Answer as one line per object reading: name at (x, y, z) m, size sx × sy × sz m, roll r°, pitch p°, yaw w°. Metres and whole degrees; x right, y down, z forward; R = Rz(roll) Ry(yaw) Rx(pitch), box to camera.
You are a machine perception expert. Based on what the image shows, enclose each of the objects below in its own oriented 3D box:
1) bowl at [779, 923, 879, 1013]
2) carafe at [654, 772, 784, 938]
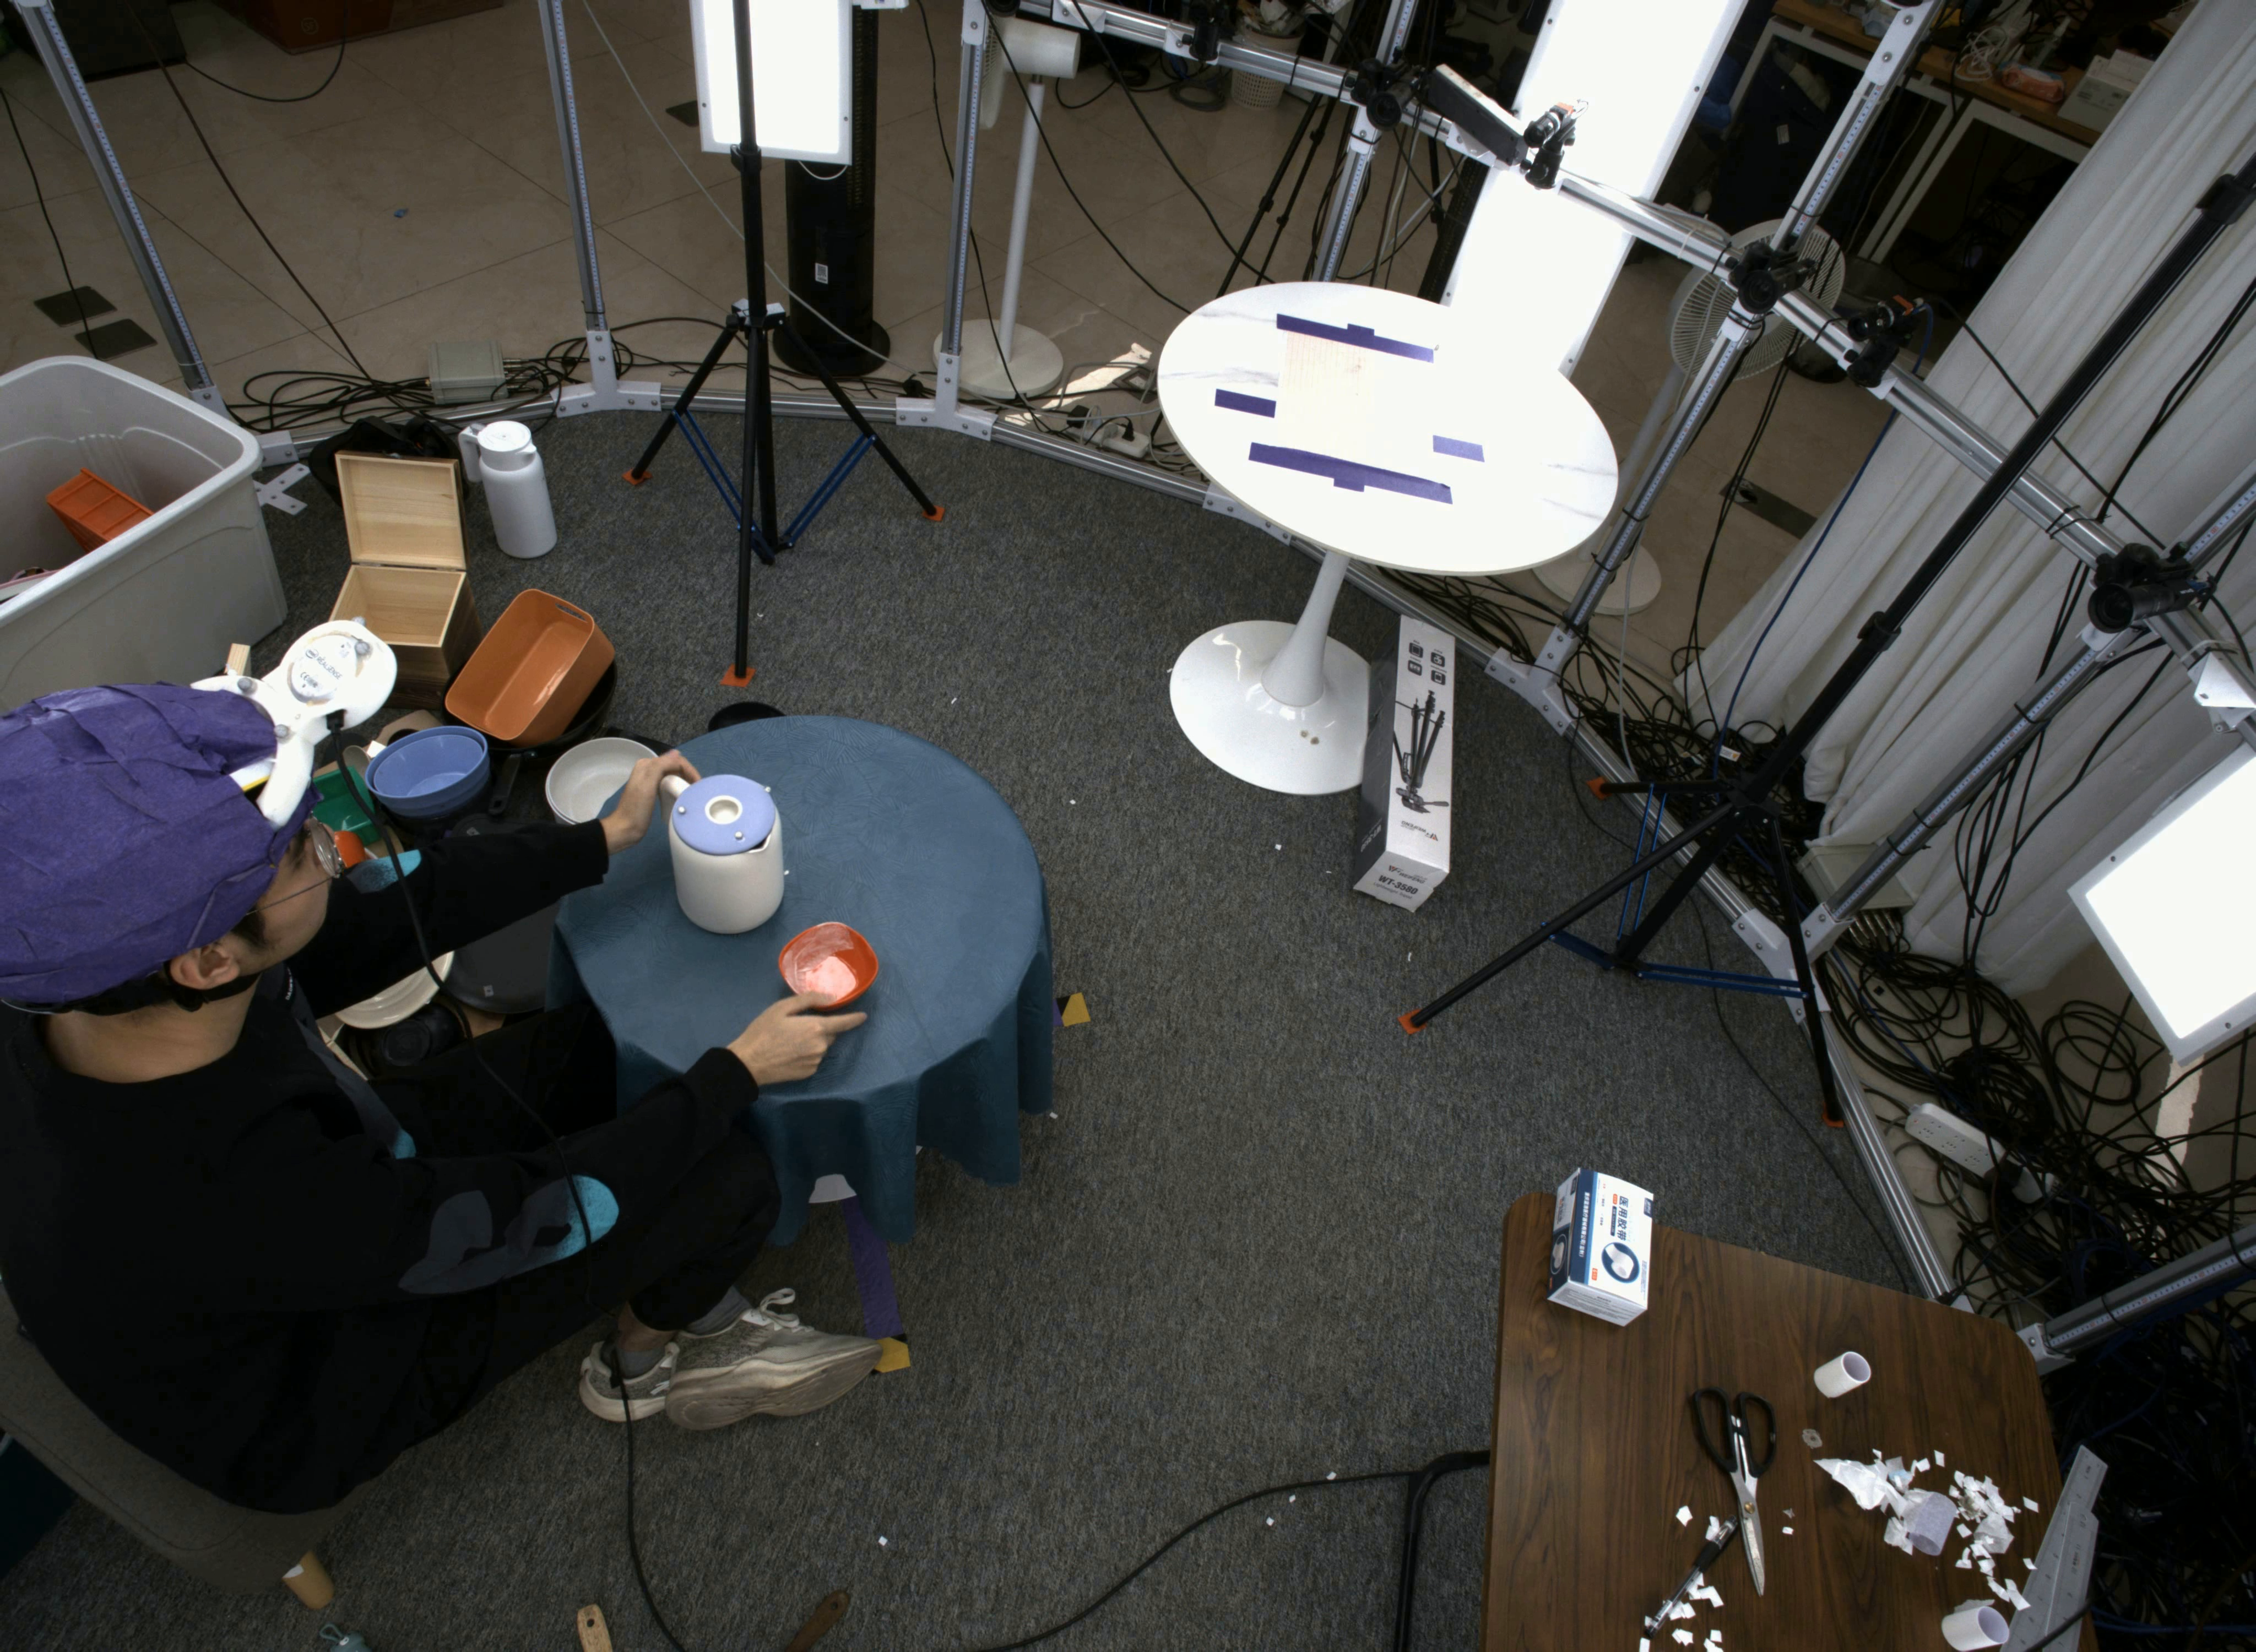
bowl at (-0.365, 0.179, 1.582) m, size 0.119 × 0.052 × 0.117 m, roll 11°, pitch 53°, yaw -12°
carafe at (-0.510, 0.021, 1.582) m, size 0.187 × 0.187 × 0.132 m, roll 33°, pitch 52°, yaw 15°
